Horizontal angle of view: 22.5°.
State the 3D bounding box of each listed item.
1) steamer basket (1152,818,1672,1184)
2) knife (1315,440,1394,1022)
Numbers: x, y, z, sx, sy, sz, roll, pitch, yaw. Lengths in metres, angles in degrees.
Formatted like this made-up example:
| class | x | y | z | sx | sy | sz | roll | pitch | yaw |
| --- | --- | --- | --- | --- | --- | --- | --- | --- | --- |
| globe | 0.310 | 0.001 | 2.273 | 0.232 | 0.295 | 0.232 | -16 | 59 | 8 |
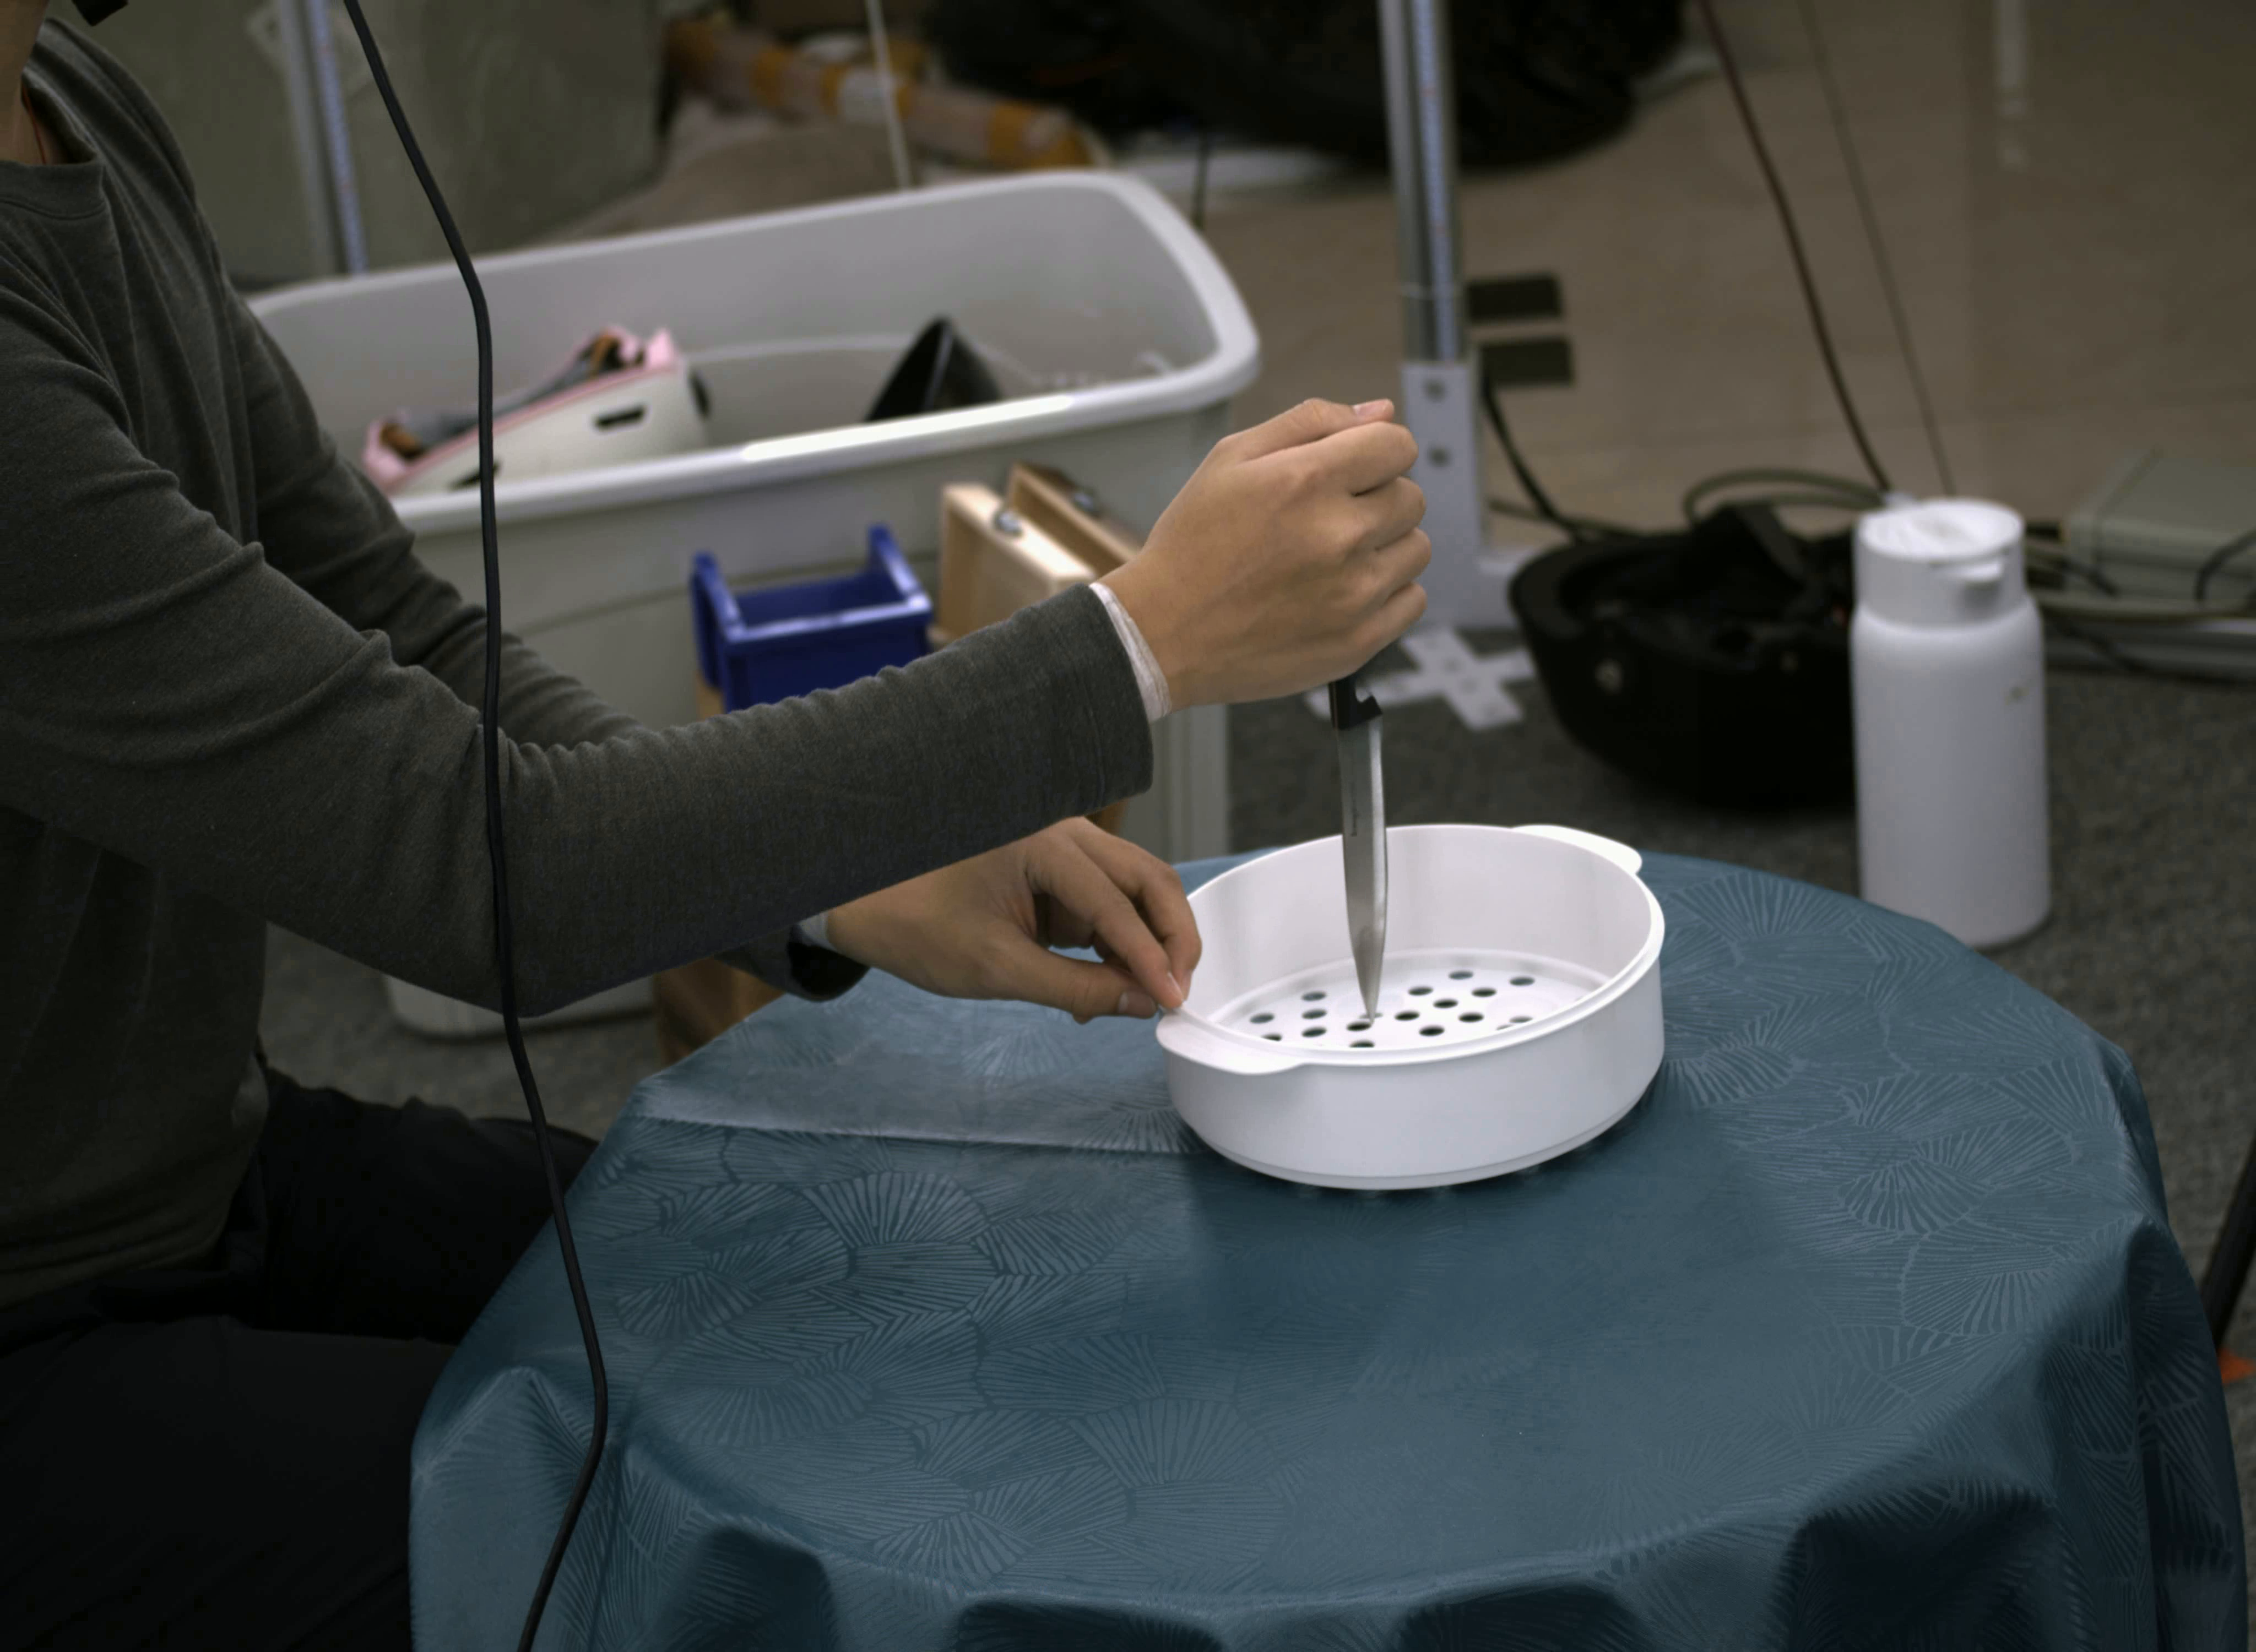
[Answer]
| class | x | y | z | sx | sy | sz | roll | pitch | yaw |
| --- | --- | --- | --- | --- | --- | --- | --- | --- | --- |
| steamer basket | 0.112 | 0.069 | 2.193 | 0.228 | 0.070 | 0.200 | -28 | 31 | -36 |
| knife | 0.086 | -0.032 | 2.128 | 0.024 | 0.242 | 0.016 | -20 | 30 | -28 |
